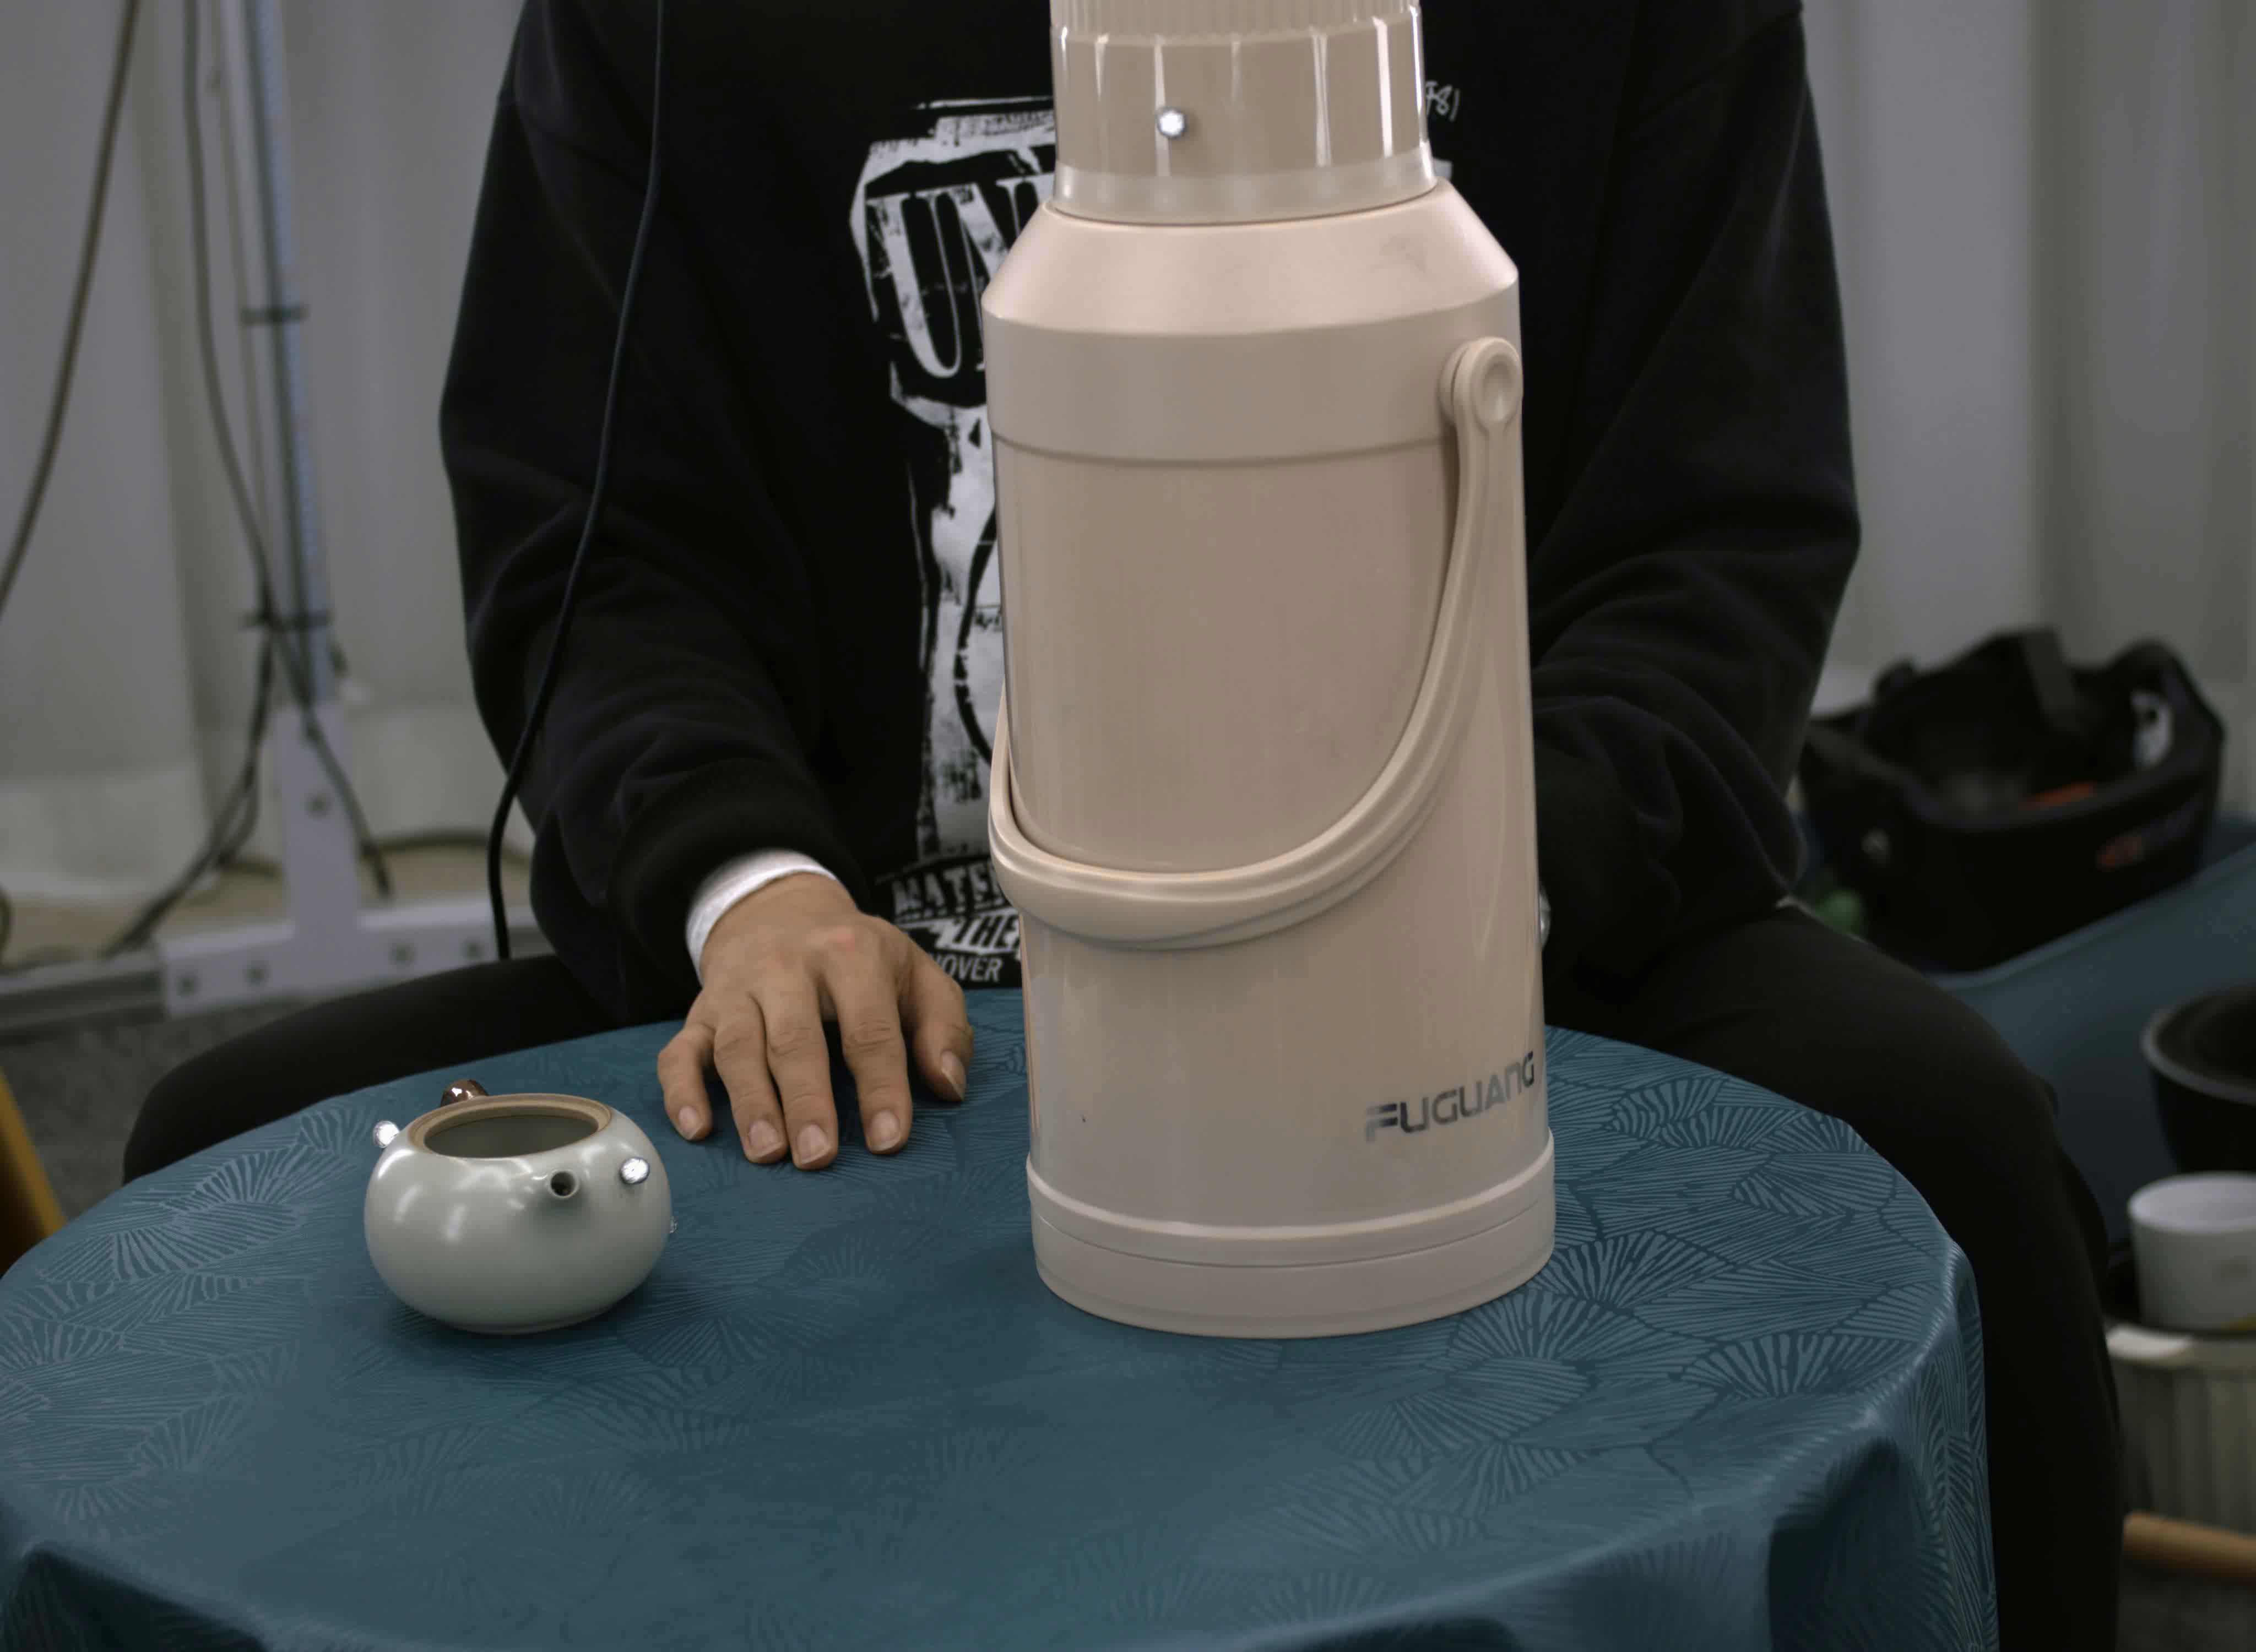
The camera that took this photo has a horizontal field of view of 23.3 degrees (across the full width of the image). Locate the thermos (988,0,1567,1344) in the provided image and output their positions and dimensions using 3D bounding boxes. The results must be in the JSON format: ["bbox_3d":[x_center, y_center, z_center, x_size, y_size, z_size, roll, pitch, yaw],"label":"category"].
[{"bbox_3d":[0.052,-0.066,1.617,0.176,0.405,0.207,6,17,38],"label":"thermos"}]

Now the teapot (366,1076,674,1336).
[{"bbox_3d":[-0.185,0.113,1.642,0.091,0.059,0.129,-12,18,-23],"label":"teapot"}]
